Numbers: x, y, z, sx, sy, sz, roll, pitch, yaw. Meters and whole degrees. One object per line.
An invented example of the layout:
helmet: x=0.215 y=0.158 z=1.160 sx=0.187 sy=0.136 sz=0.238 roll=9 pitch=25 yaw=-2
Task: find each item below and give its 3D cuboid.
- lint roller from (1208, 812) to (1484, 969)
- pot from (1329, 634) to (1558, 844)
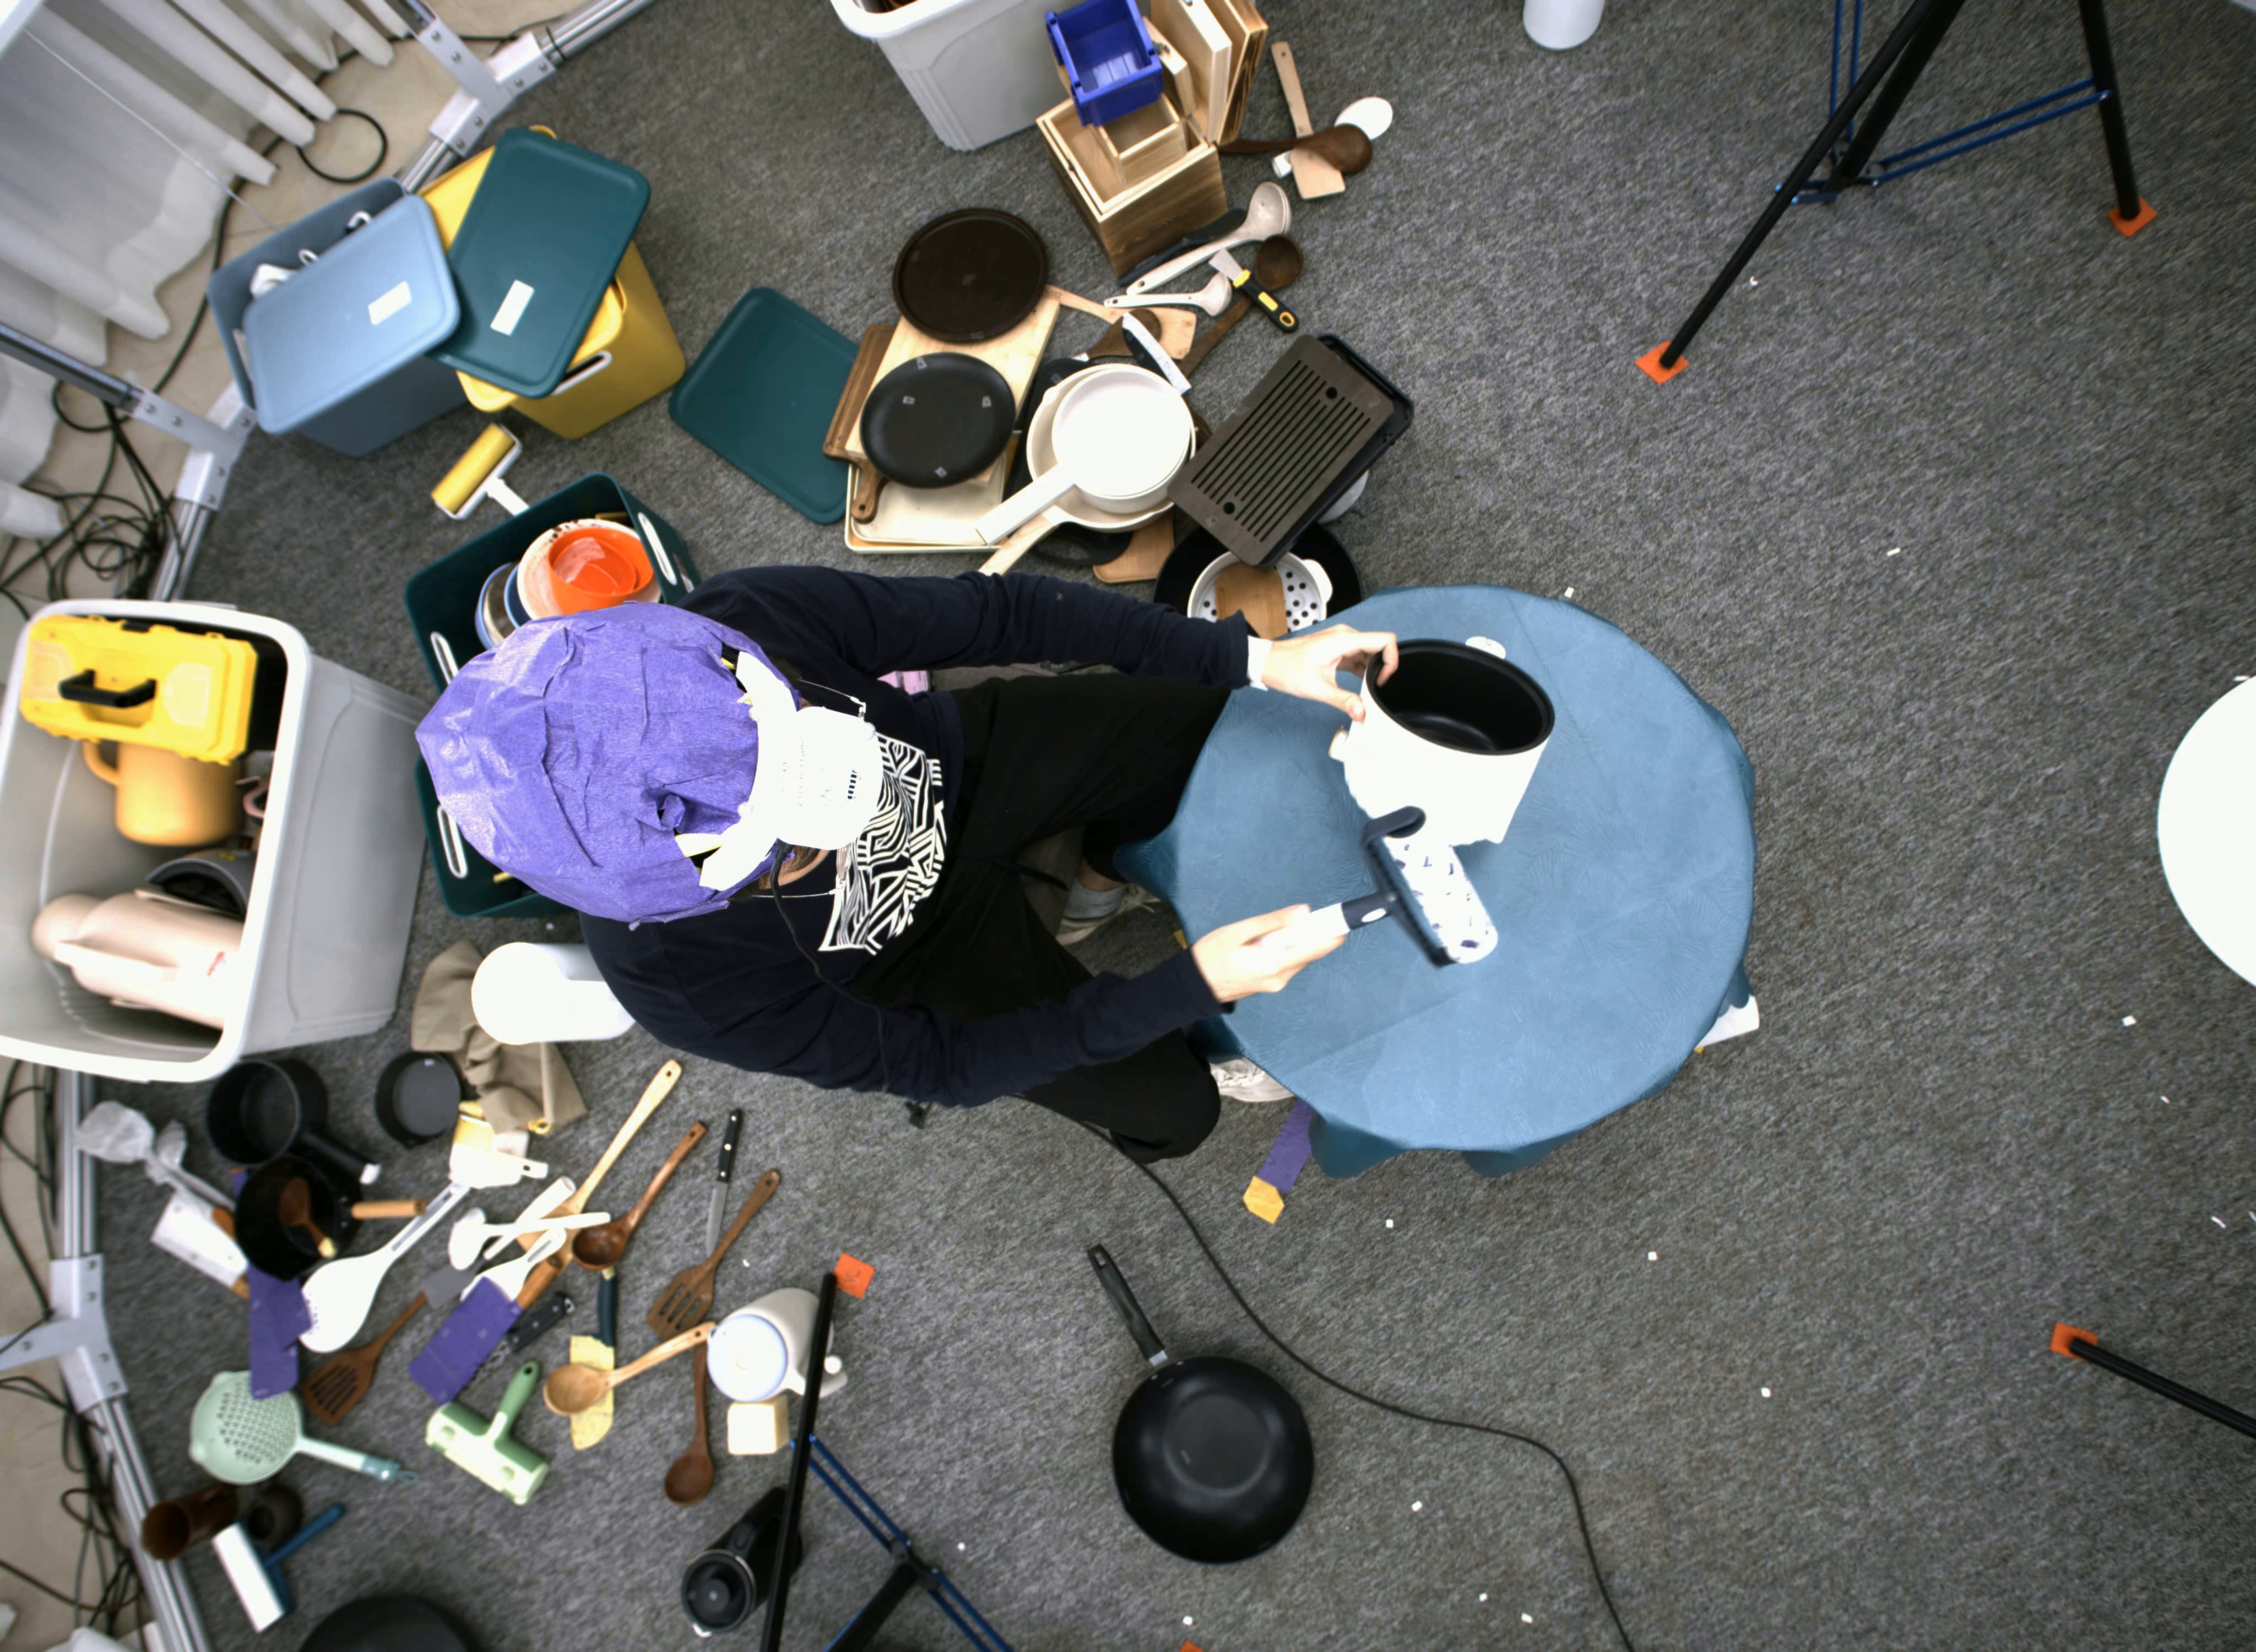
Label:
lint roller: x=0.187 y=0.092 z=1.282 sx=0.250 sy=0.049 sz=0.179 roll=-23 pitch=125 yaw=23
pot: x=0.298 y=-0.080 z=1.324 sx=0.190 sy=0.234 sz=0.146 roll=25 pitch=133 yaw=12
